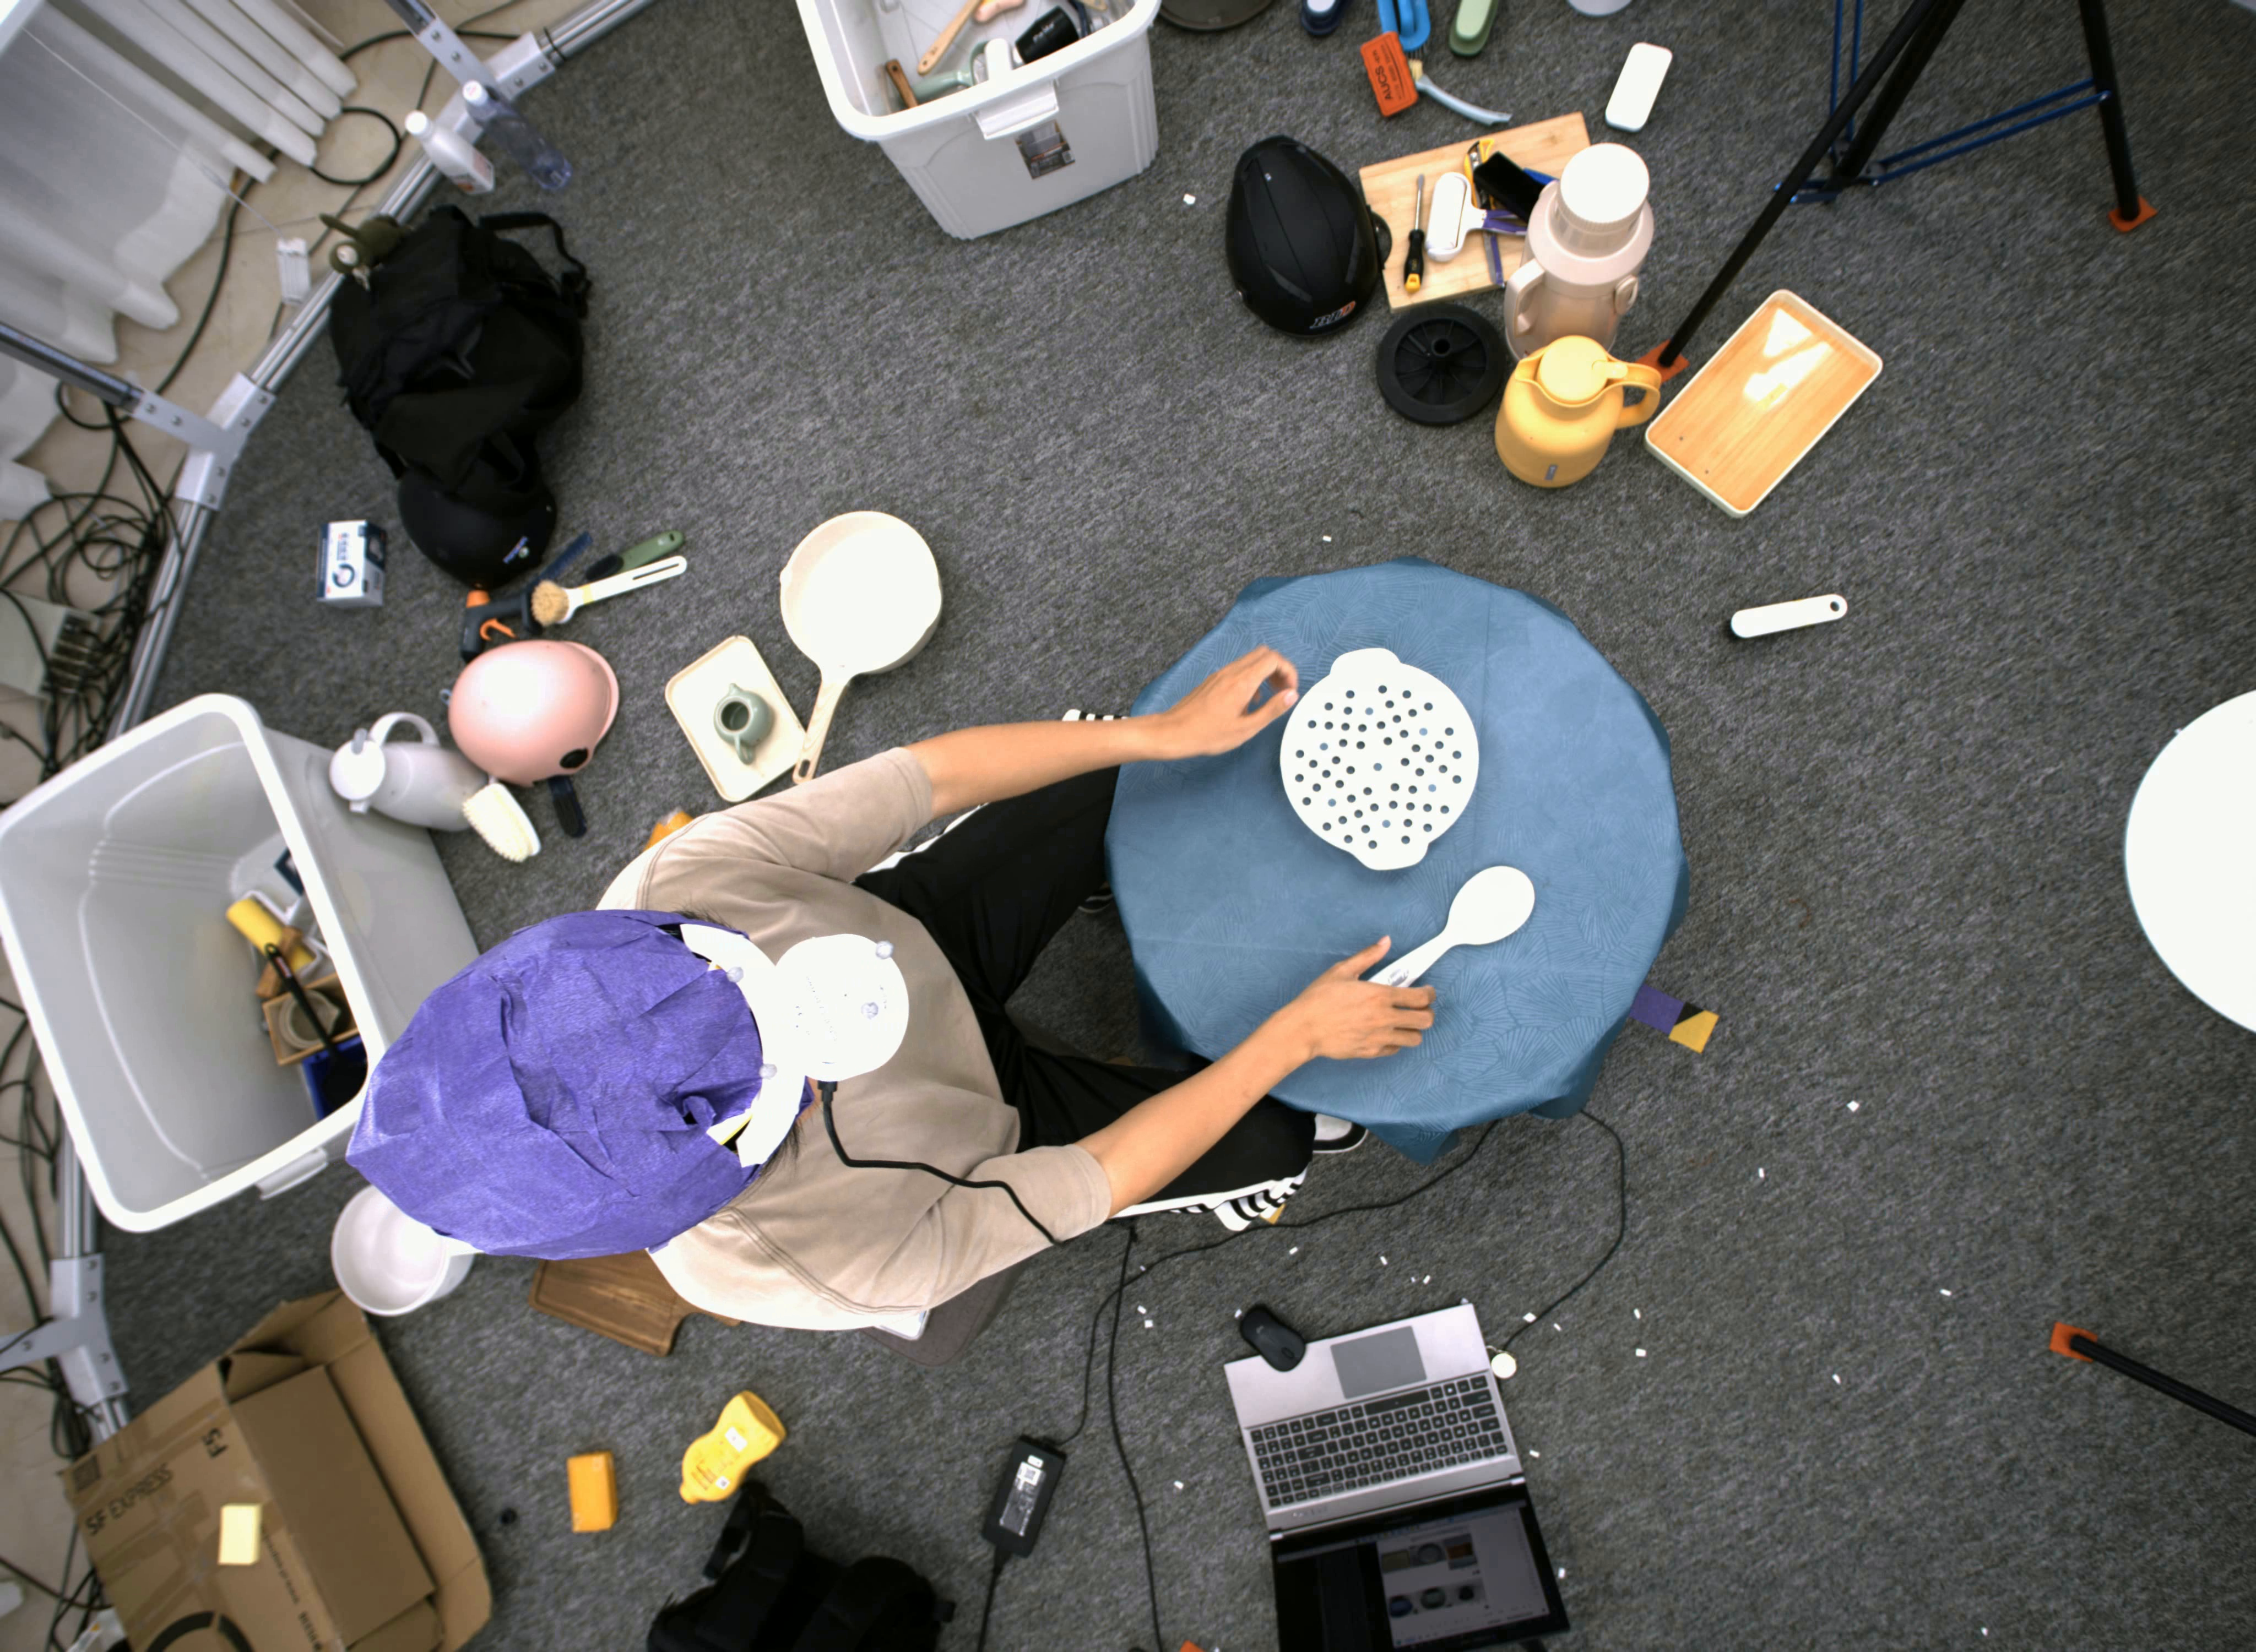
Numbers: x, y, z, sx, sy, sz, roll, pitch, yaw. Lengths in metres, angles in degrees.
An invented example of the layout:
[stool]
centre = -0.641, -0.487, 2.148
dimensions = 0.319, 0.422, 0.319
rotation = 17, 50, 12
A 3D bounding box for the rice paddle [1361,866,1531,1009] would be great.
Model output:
[rice paddle]
centre = 0.331, 0.114, 1.432
dimensions = 0.206, 0.029, 0.068
rotation = -38, 82, 6

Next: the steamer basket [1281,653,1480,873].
[steamer basket]
centre = 0.263, -0.063, 1.439
dimensions = 0.203, 0.069, 0.229
rotation = -8, 83, 10
